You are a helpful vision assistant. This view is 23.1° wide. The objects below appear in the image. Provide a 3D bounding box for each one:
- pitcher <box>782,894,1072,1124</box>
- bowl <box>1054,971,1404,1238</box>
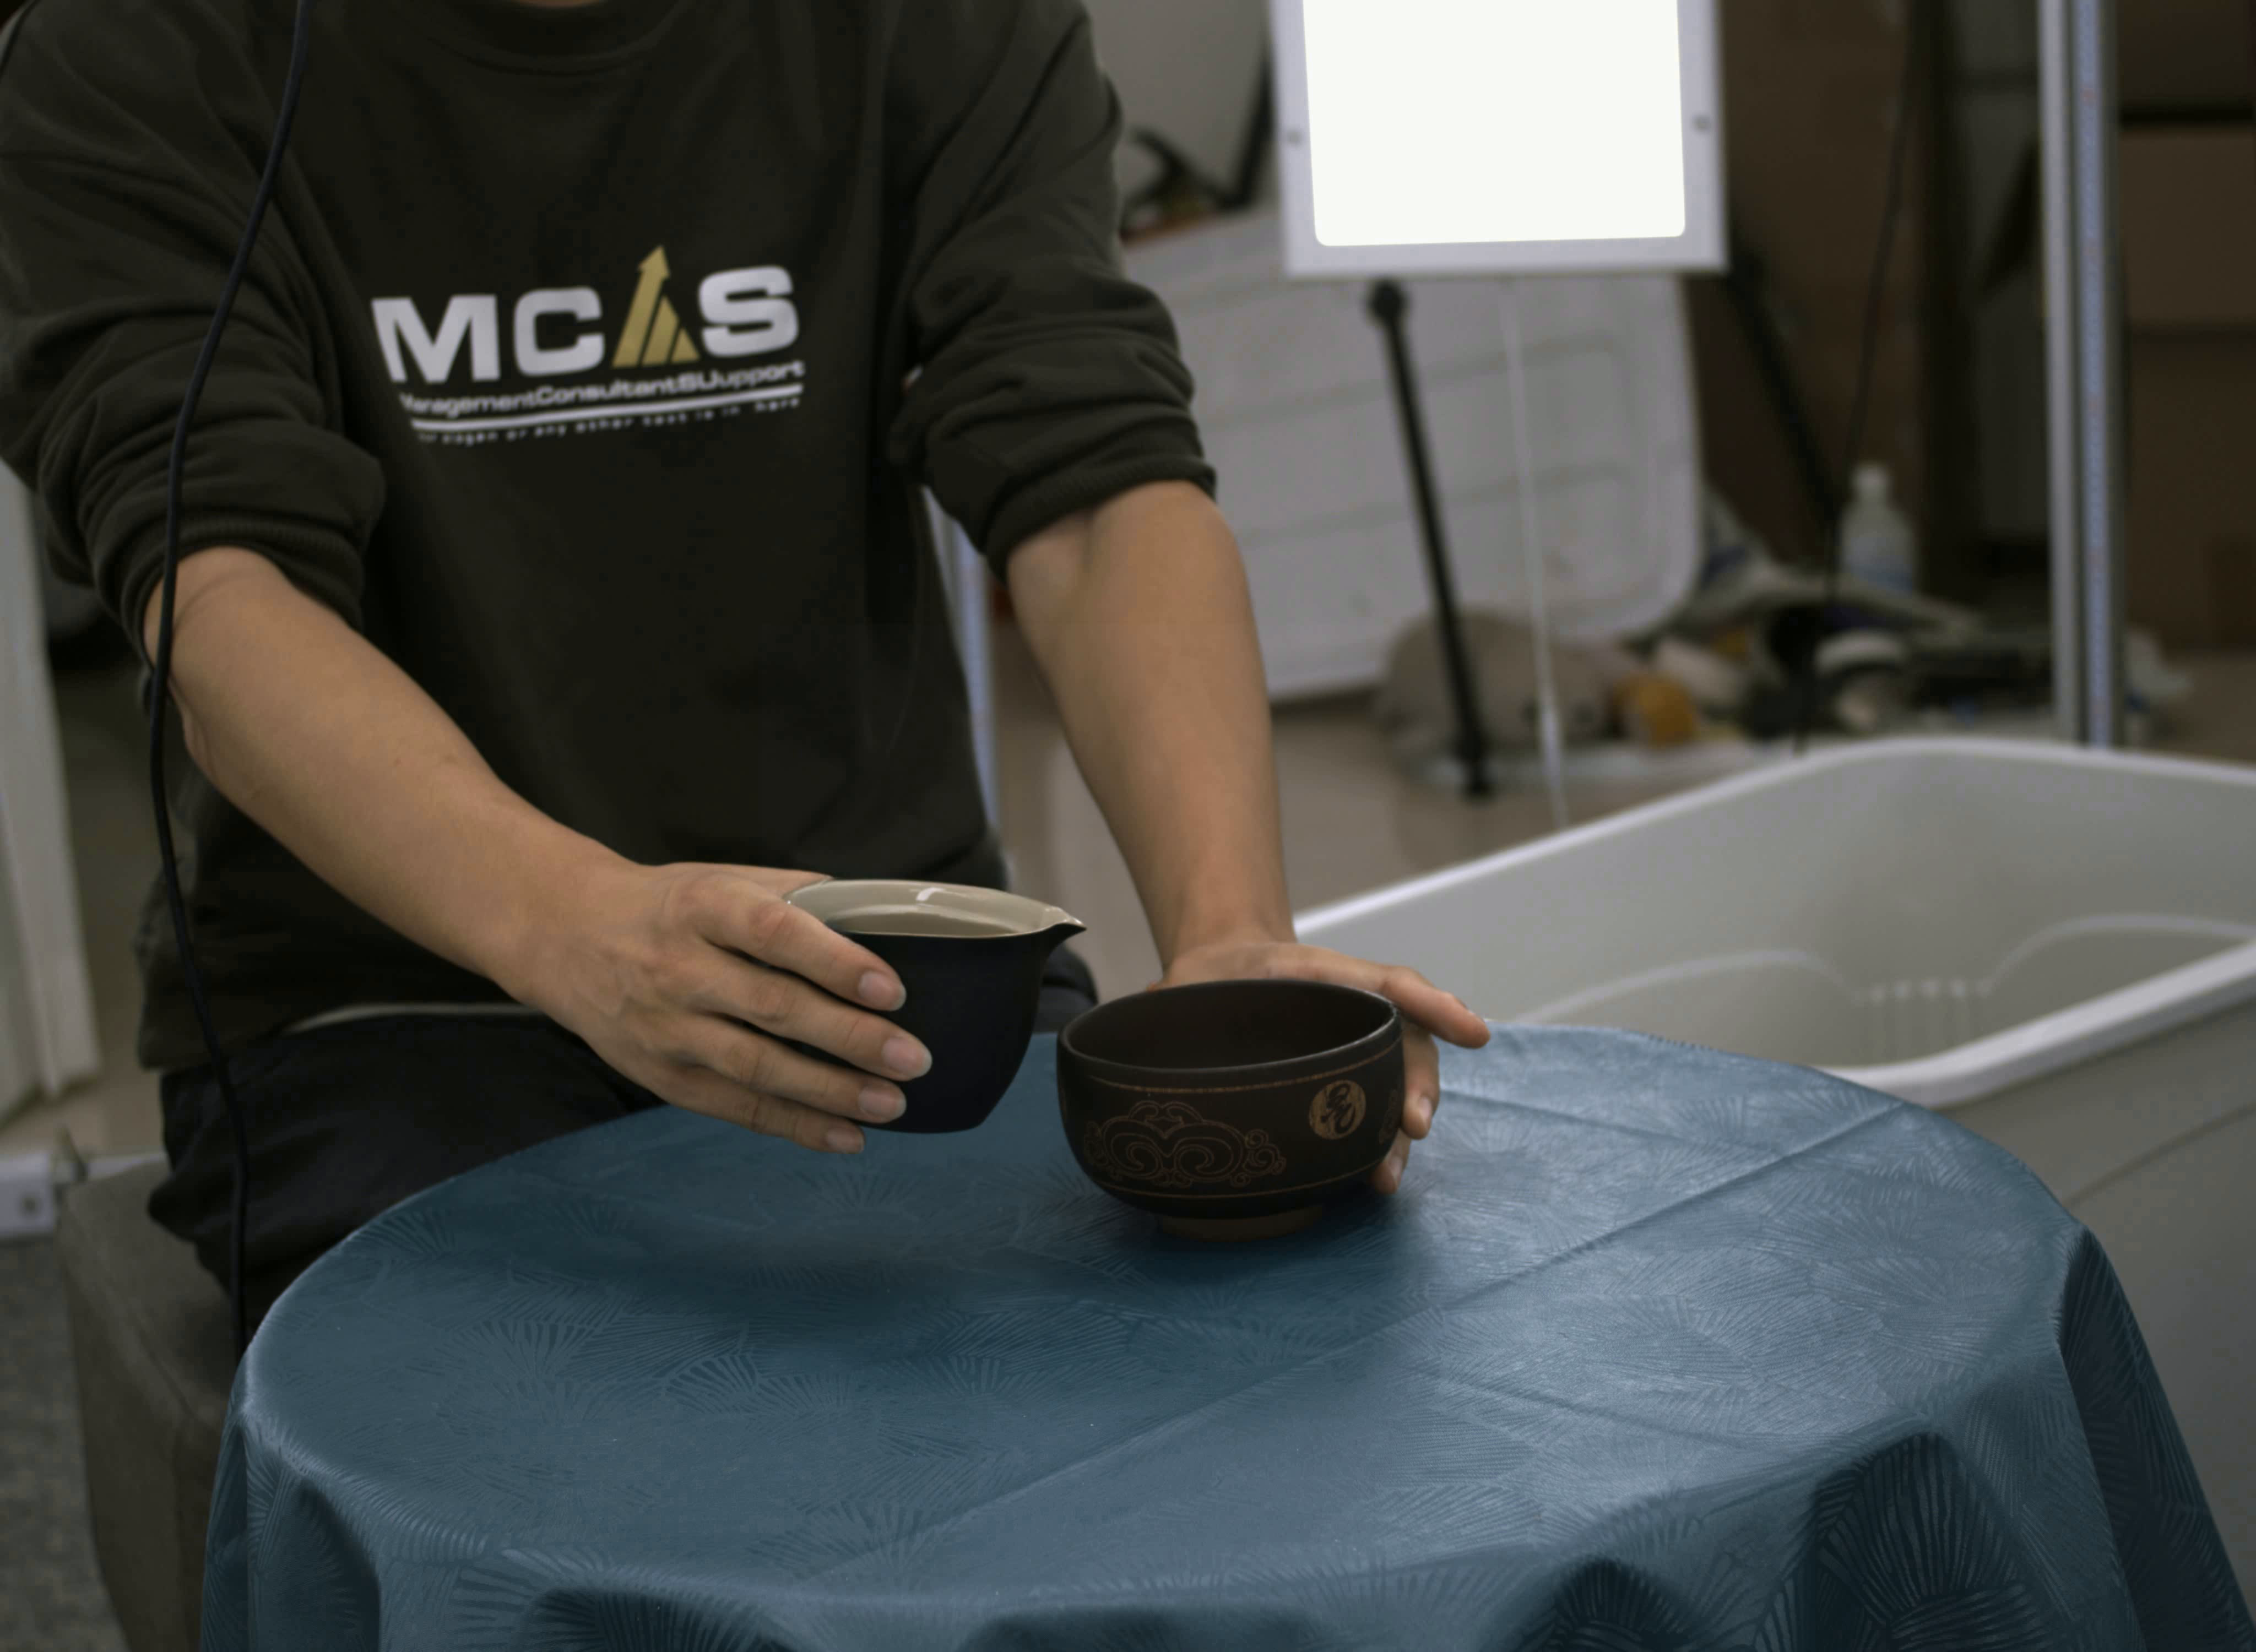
[{"bbox_3d":[-0.068,0.059,1.818,0.096,0.071,0.083,3,9,1],"label":"pitcher"},{"bbox_3d":[0.036,0.097,1.855,0.118,0.070,0.118,-5,15,0],"label":"bowl"}]
